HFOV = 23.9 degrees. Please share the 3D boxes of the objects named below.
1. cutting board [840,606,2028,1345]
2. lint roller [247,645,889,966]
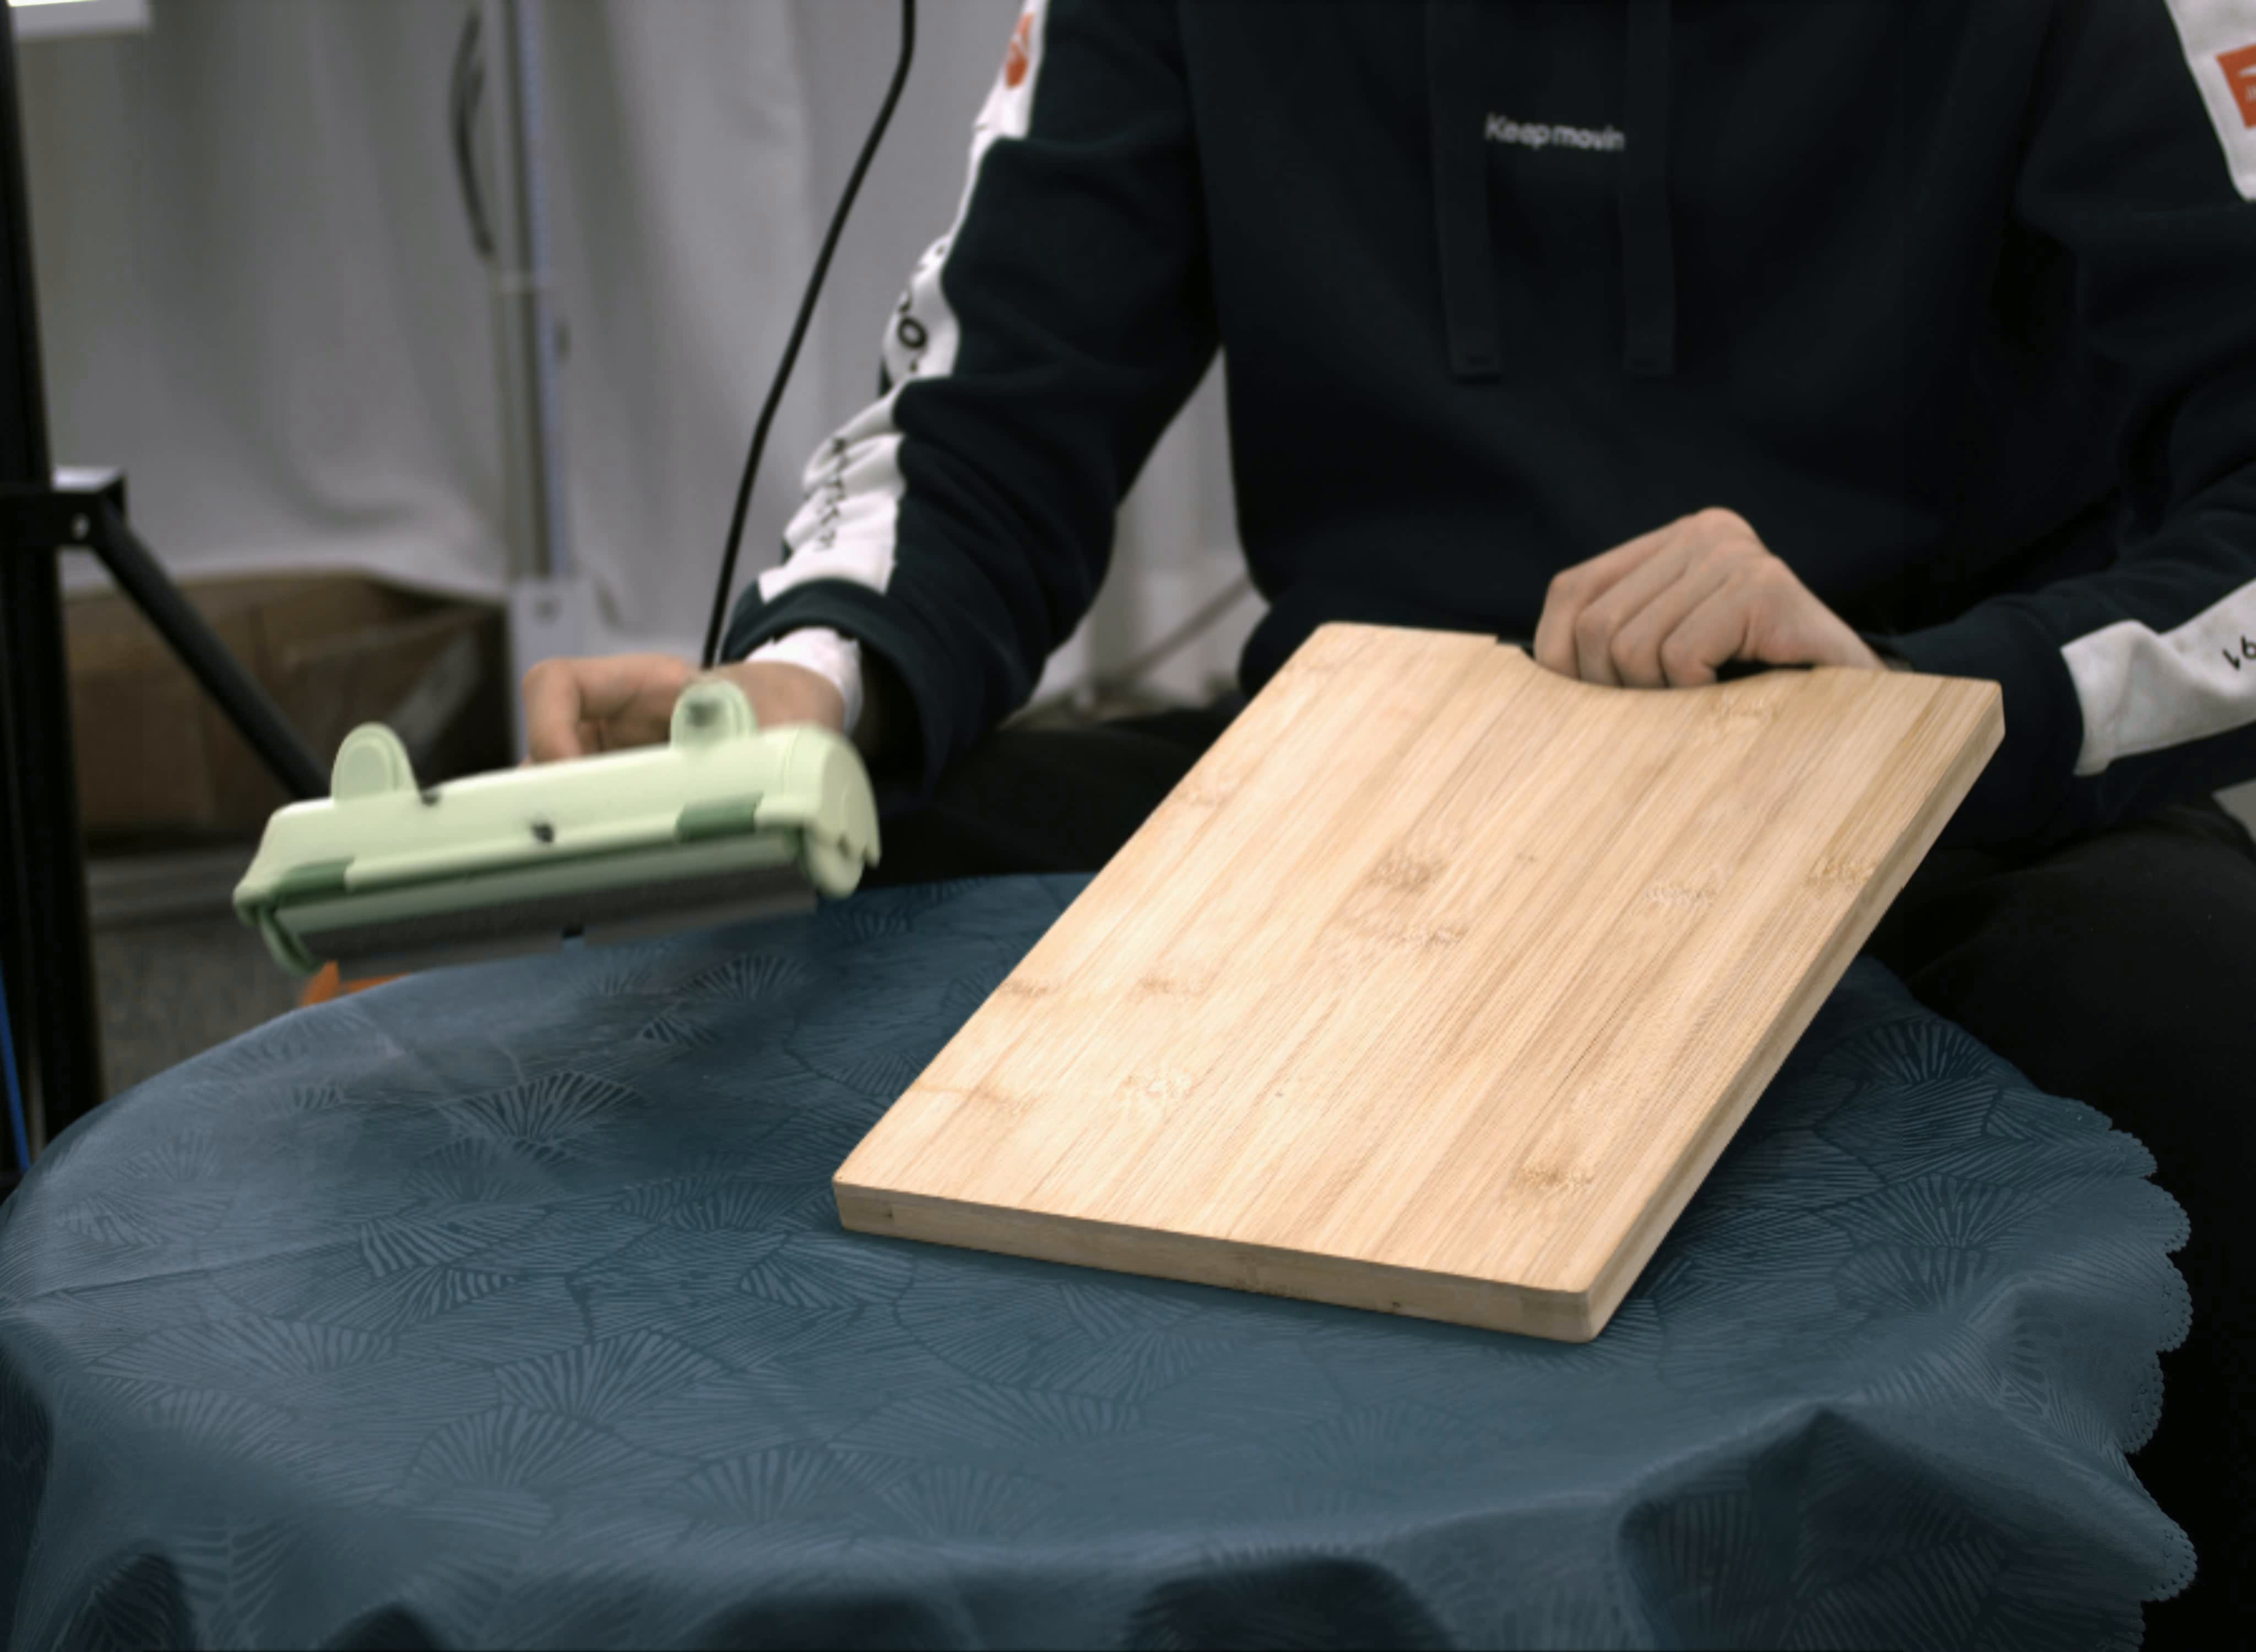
[{"bbox_3d":[0.099,0.034,1.602,0.255,0.023,0.345,6,34,28],"label":"cutting board"},{"bbox_3d":[-0.162,-0.018,1.705,0.200,0.082,0.182,-10,13,18],"label":"lint roller"}]
